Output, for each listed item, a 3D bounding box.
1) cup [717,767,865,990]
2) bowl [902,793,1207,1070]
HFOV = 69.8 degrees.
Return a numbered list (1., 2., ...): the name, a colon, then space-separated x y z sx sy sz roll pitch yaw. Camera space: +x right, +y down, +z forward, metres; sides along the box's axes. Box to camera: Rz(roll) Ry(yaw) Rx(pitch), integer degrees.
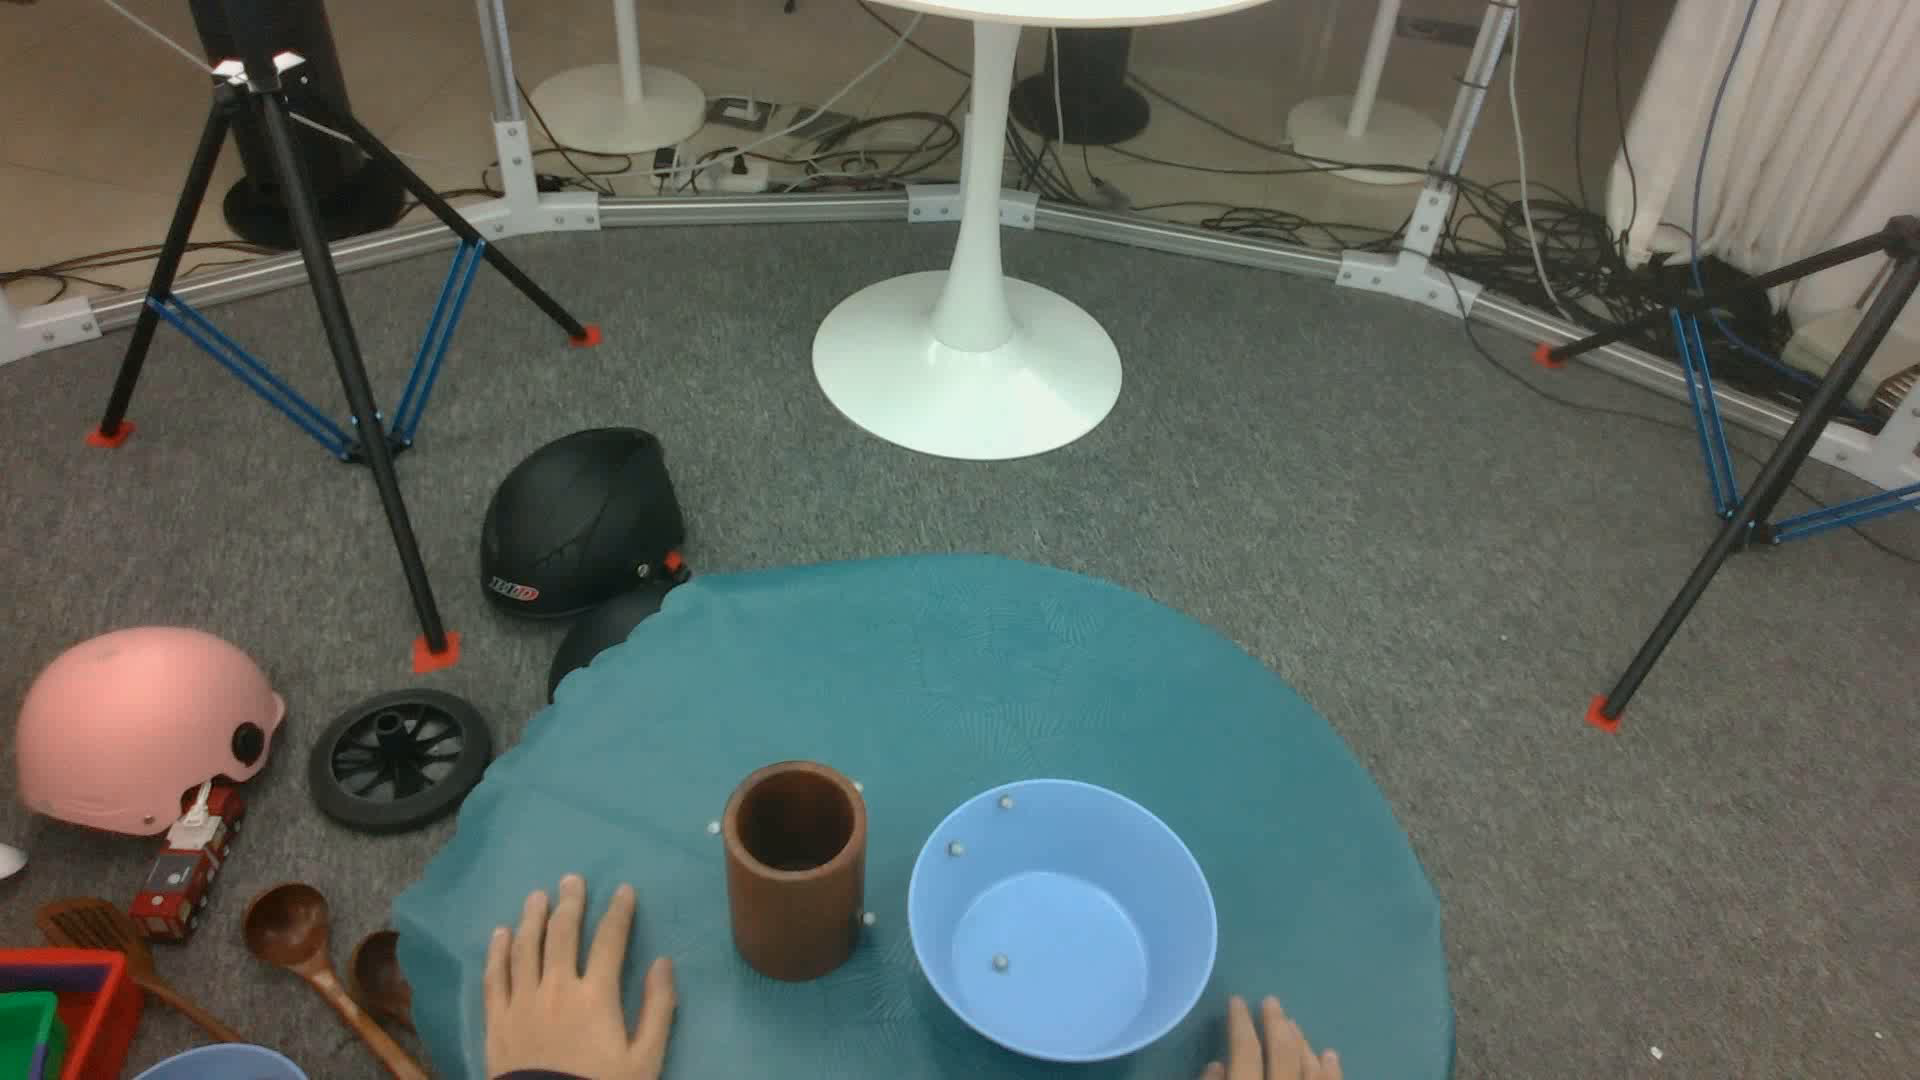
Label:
1. cup: -0.097 0.199 0.806 0.088 0.118 0.088 2 46 -2
2. bowl: 0.053 0.241 0.813 0.176 0.070 0.177 3 44 -3
